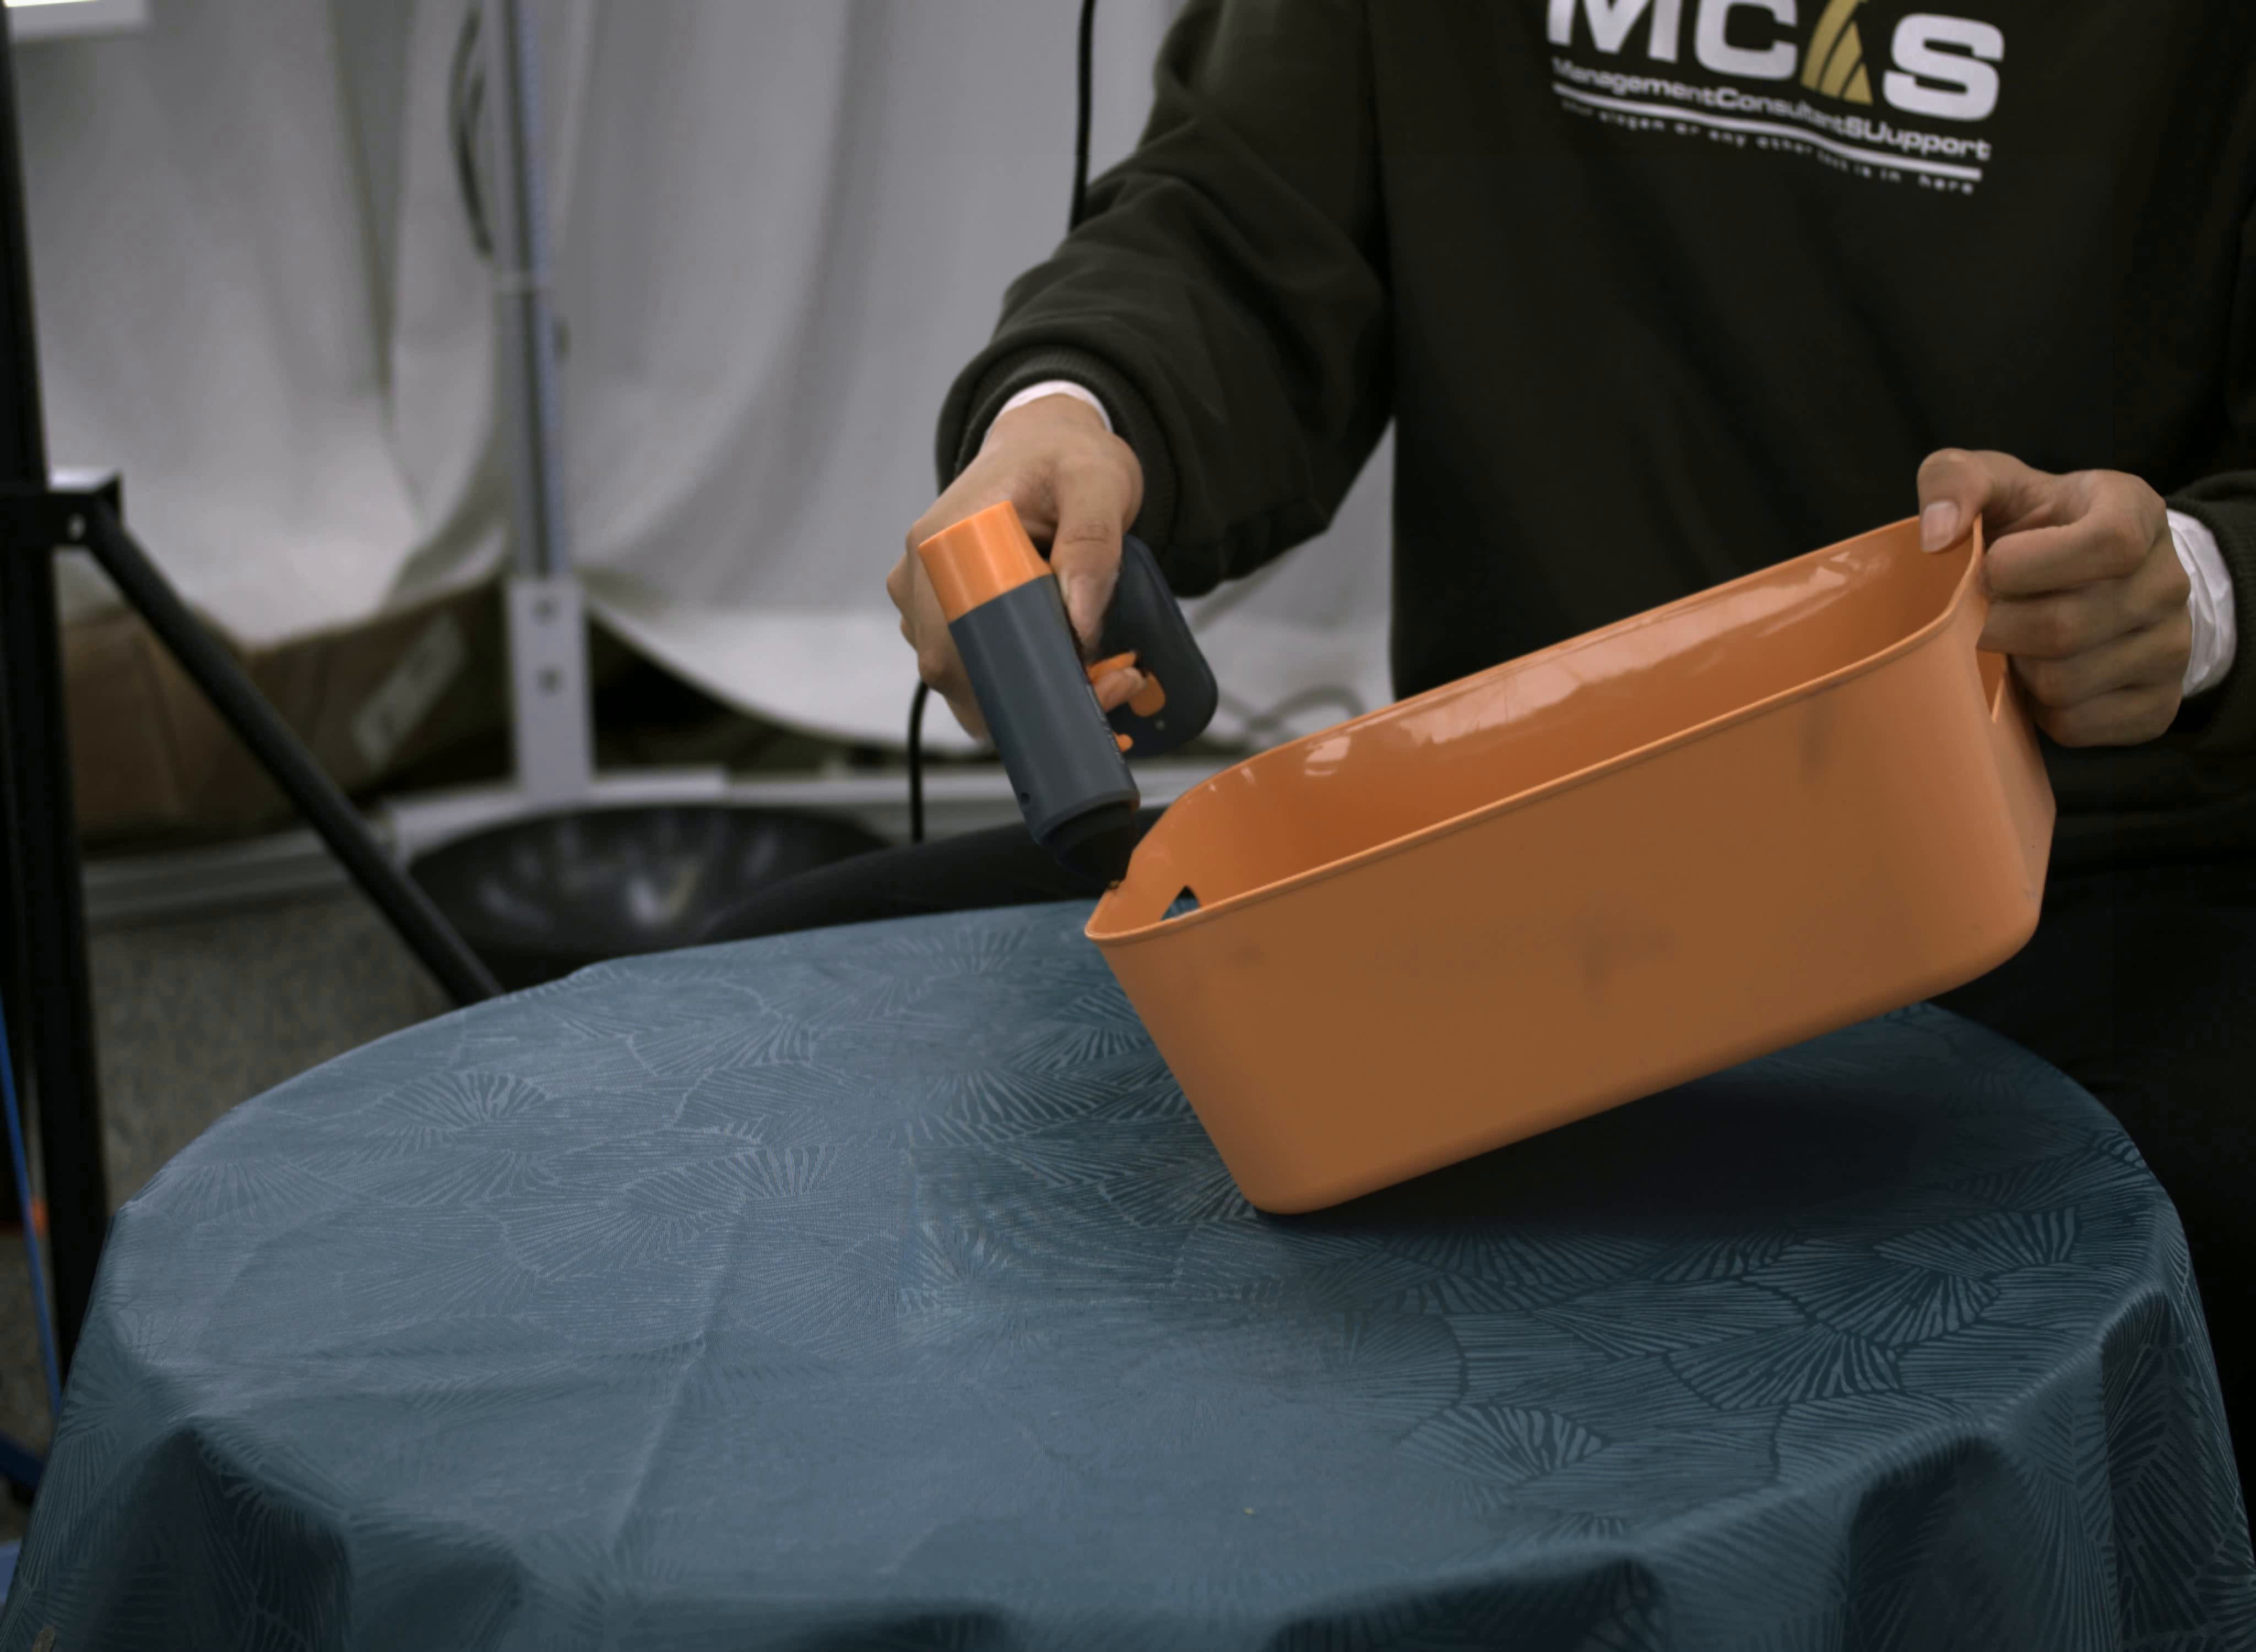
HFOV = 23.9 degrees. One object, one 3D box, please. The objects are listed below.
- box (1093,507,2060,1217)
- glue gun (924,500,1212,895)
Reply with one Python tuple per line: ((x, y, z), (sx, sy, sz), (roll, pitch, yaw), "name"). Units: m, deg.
((0.140, 0.013, 1.552), (0.275, 0.102, 0.198), (-21, 9, 17), "box")
((-0.015, -0.042, 1.622), (0.041, 0.118, 0.138), (-25, 1, 17), "glue gun")
